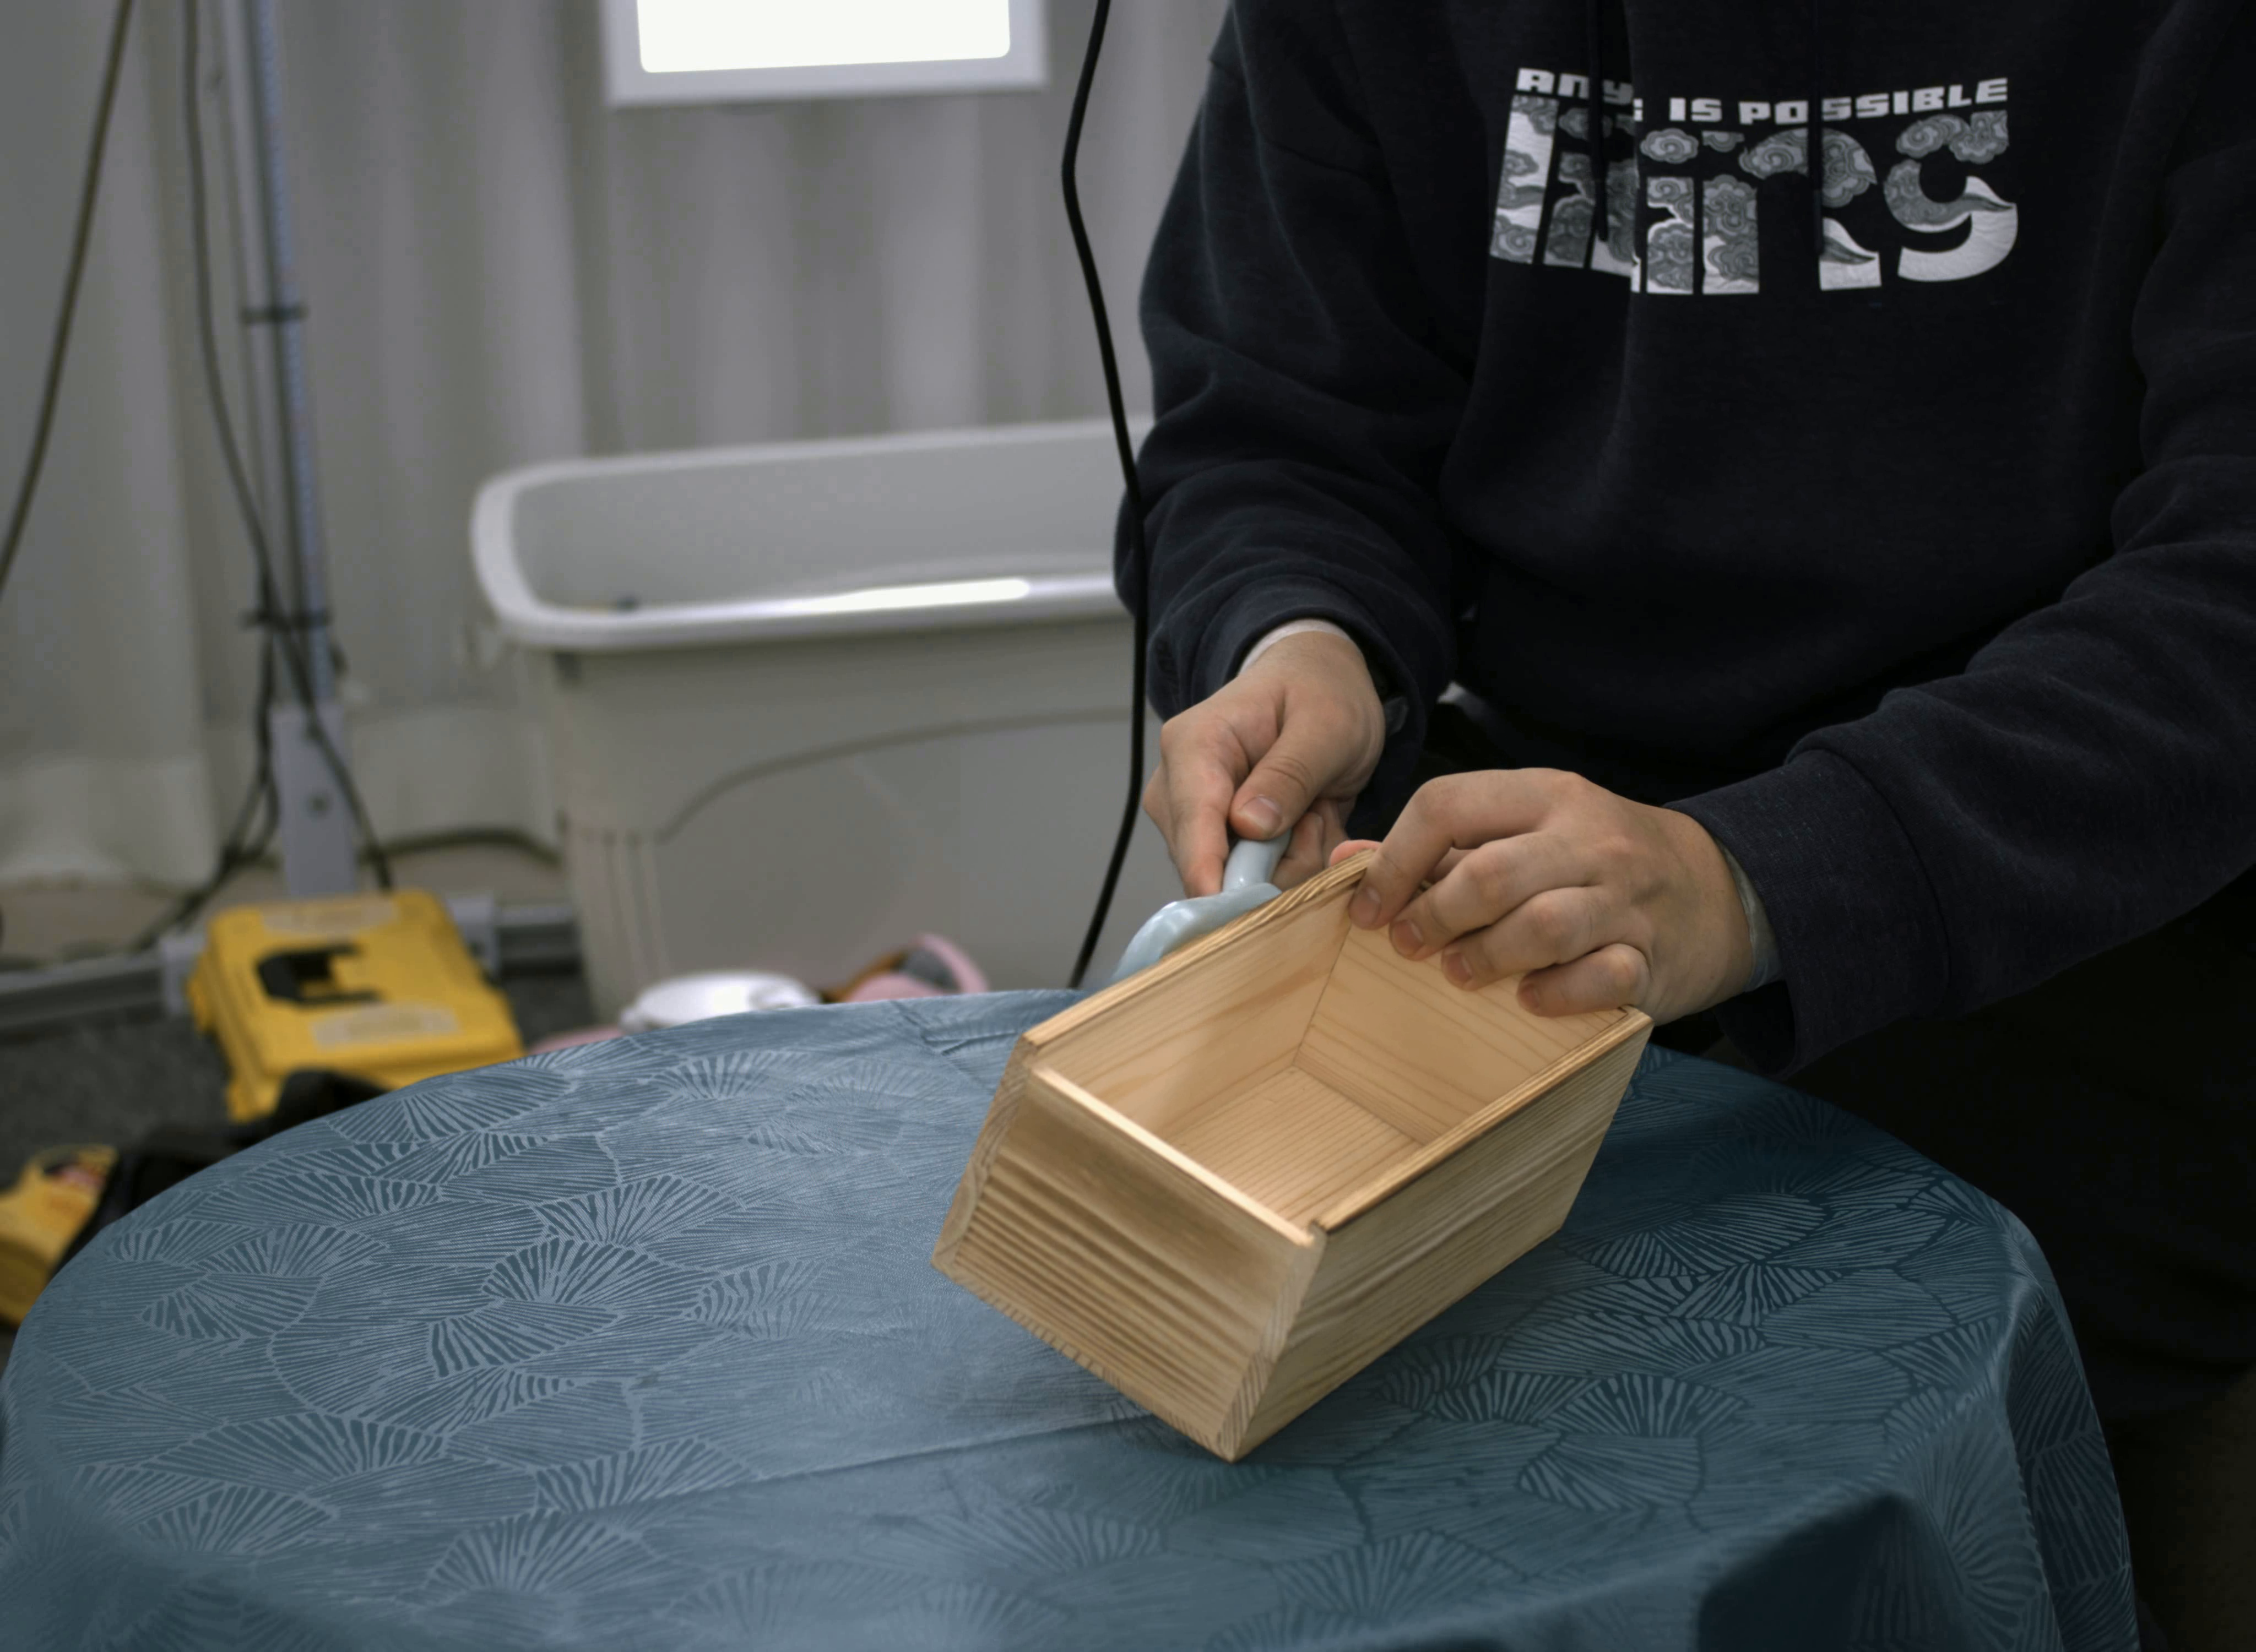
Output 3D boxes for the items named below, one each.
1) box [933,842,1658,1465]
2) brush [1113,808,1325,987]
[{"bbox_3d":[0.052,0.090,1.577,0.108,0.079,0.211,31,28,19],"label":"box"},{"bbox_3d":[0.041,0.026,1.732,0.050,0.037,0.229,28,14,6],"label":"brush"}]
